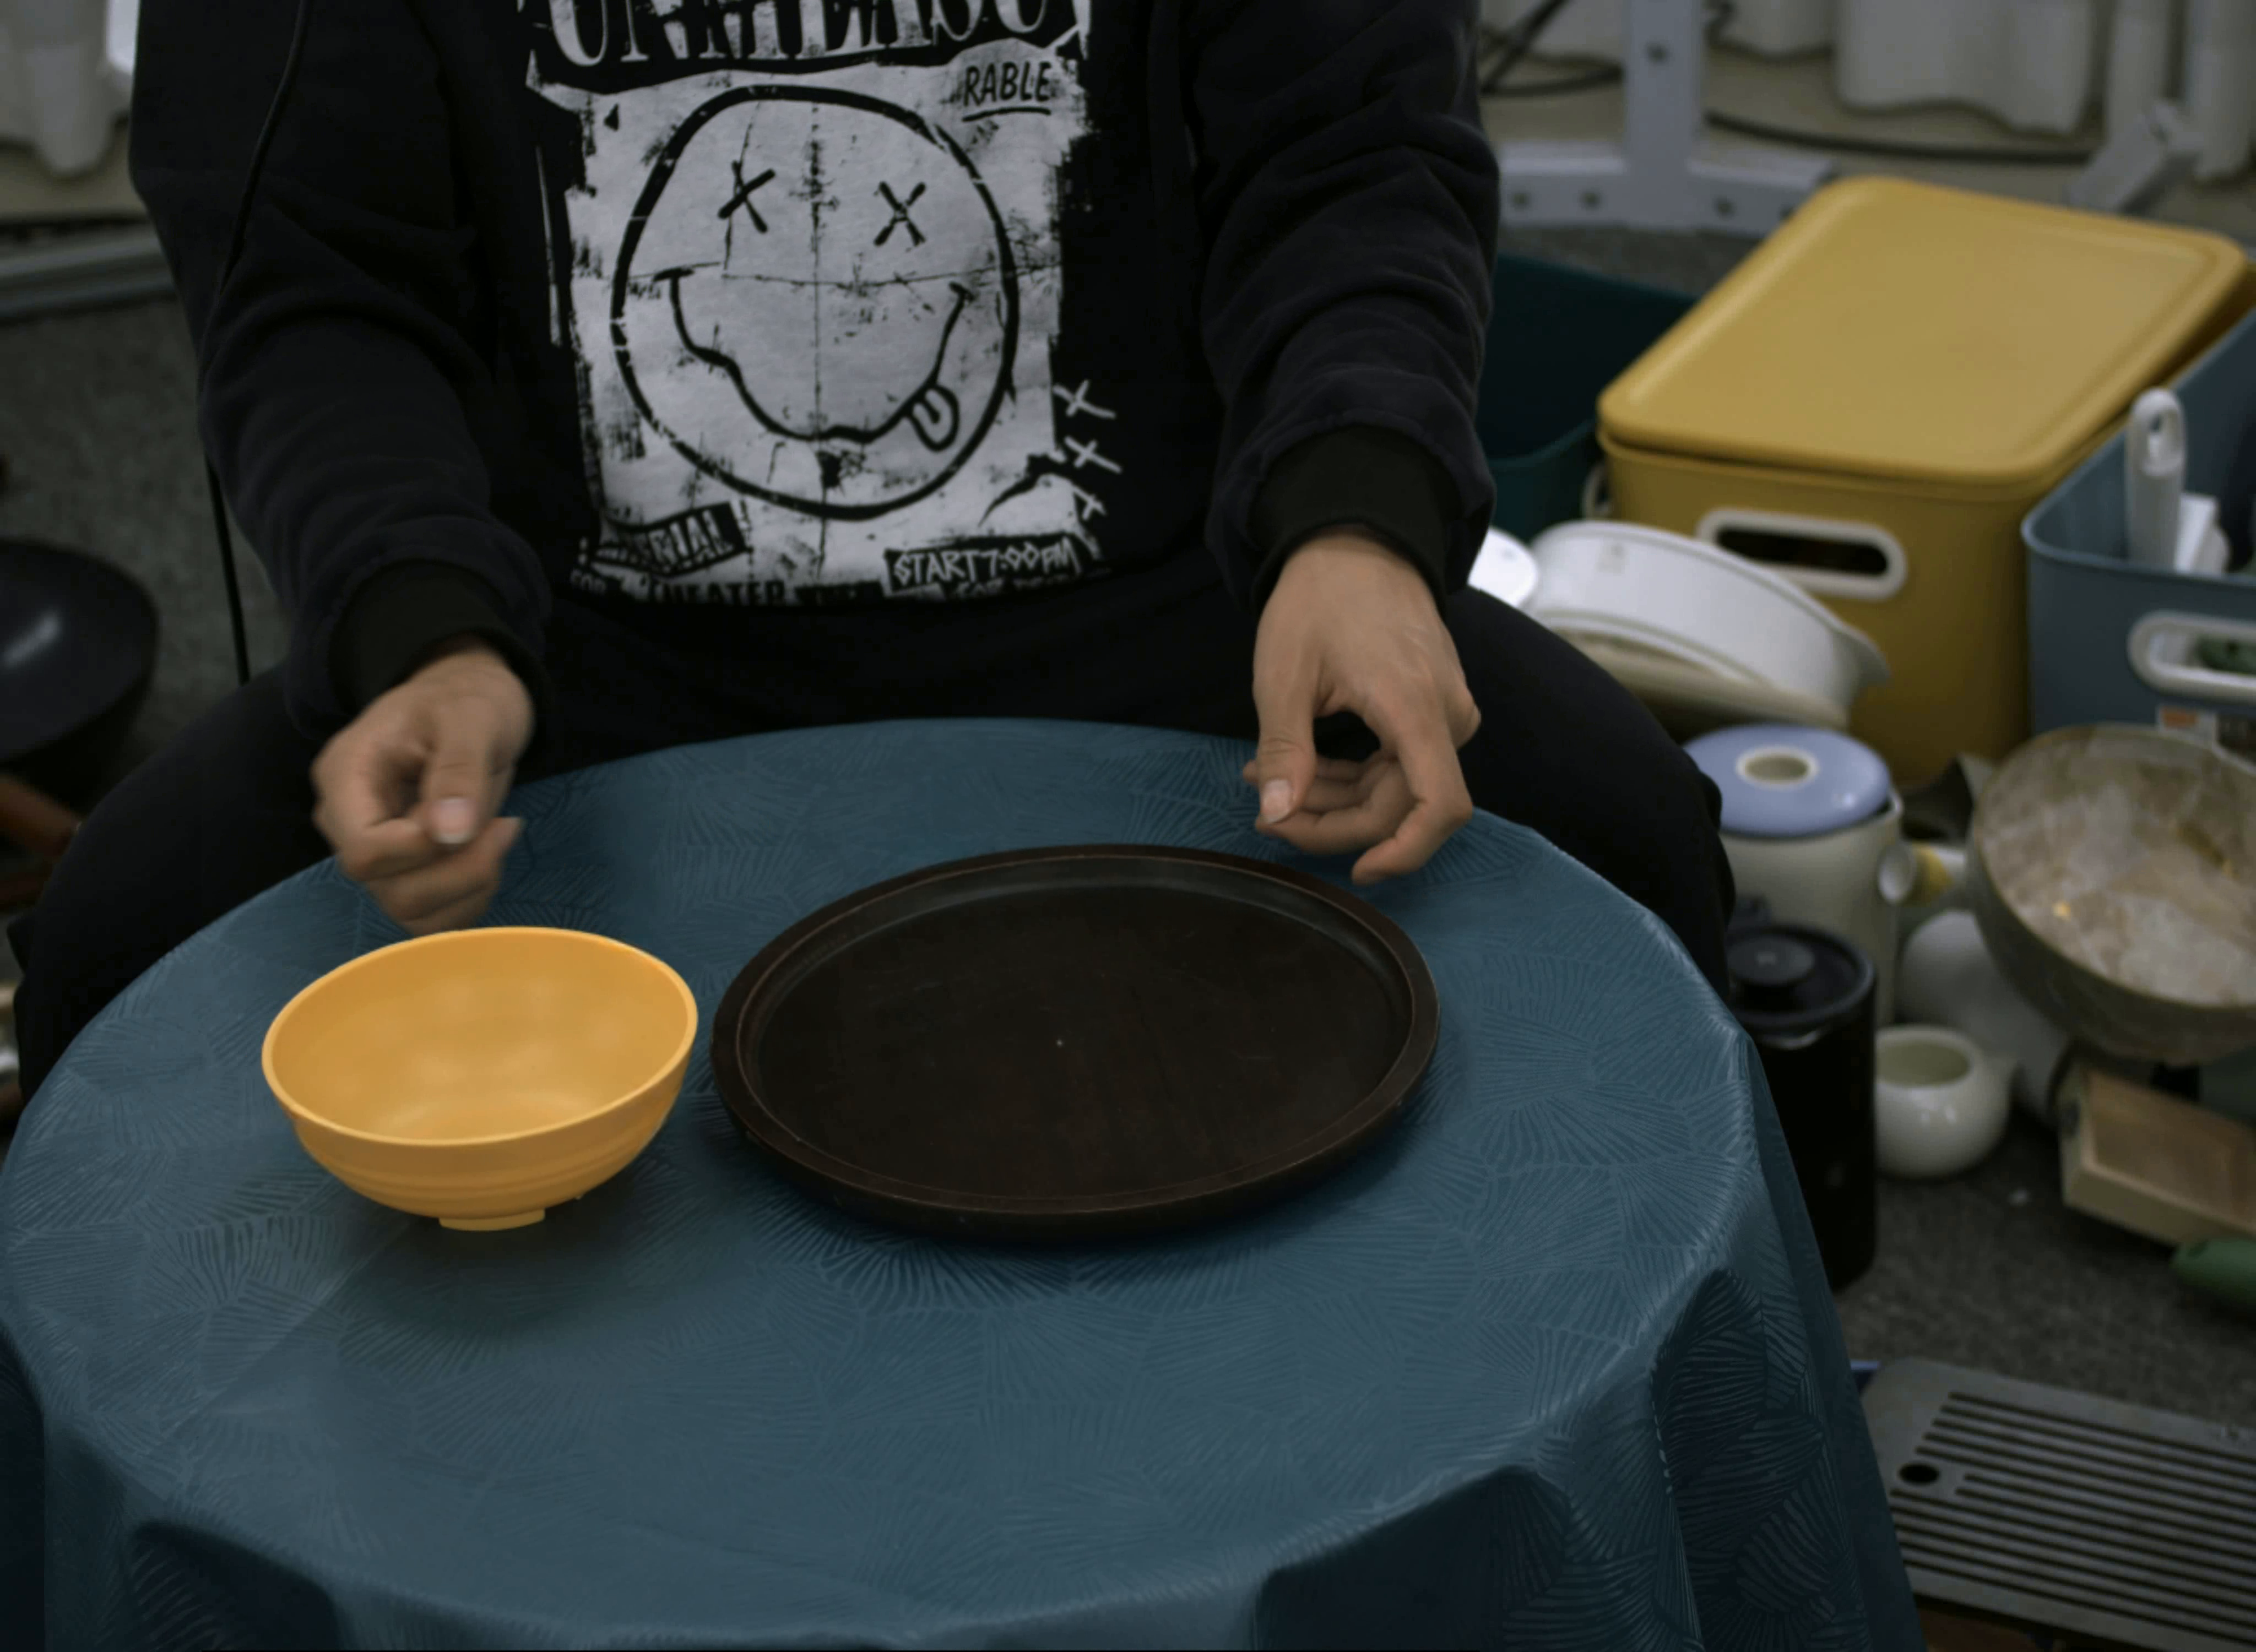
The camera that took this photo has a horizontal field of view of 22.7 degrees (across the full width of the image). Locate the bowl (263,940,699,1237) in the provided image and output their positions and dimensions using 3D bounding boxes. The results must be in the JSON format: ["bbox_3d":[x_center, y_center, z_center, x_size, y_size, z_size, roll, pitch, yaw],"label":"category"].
[{"bbox_3d":[-0.213,0.096,1.872,0.144,0.059,0.147,-1,25,1],"label":"bowl"}]

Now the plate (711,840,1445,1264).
[{"bbox_3d":[-0.017,0.076,1.930,0.253,0.029,0.259,-5,28,3],"label":"plate"}]
